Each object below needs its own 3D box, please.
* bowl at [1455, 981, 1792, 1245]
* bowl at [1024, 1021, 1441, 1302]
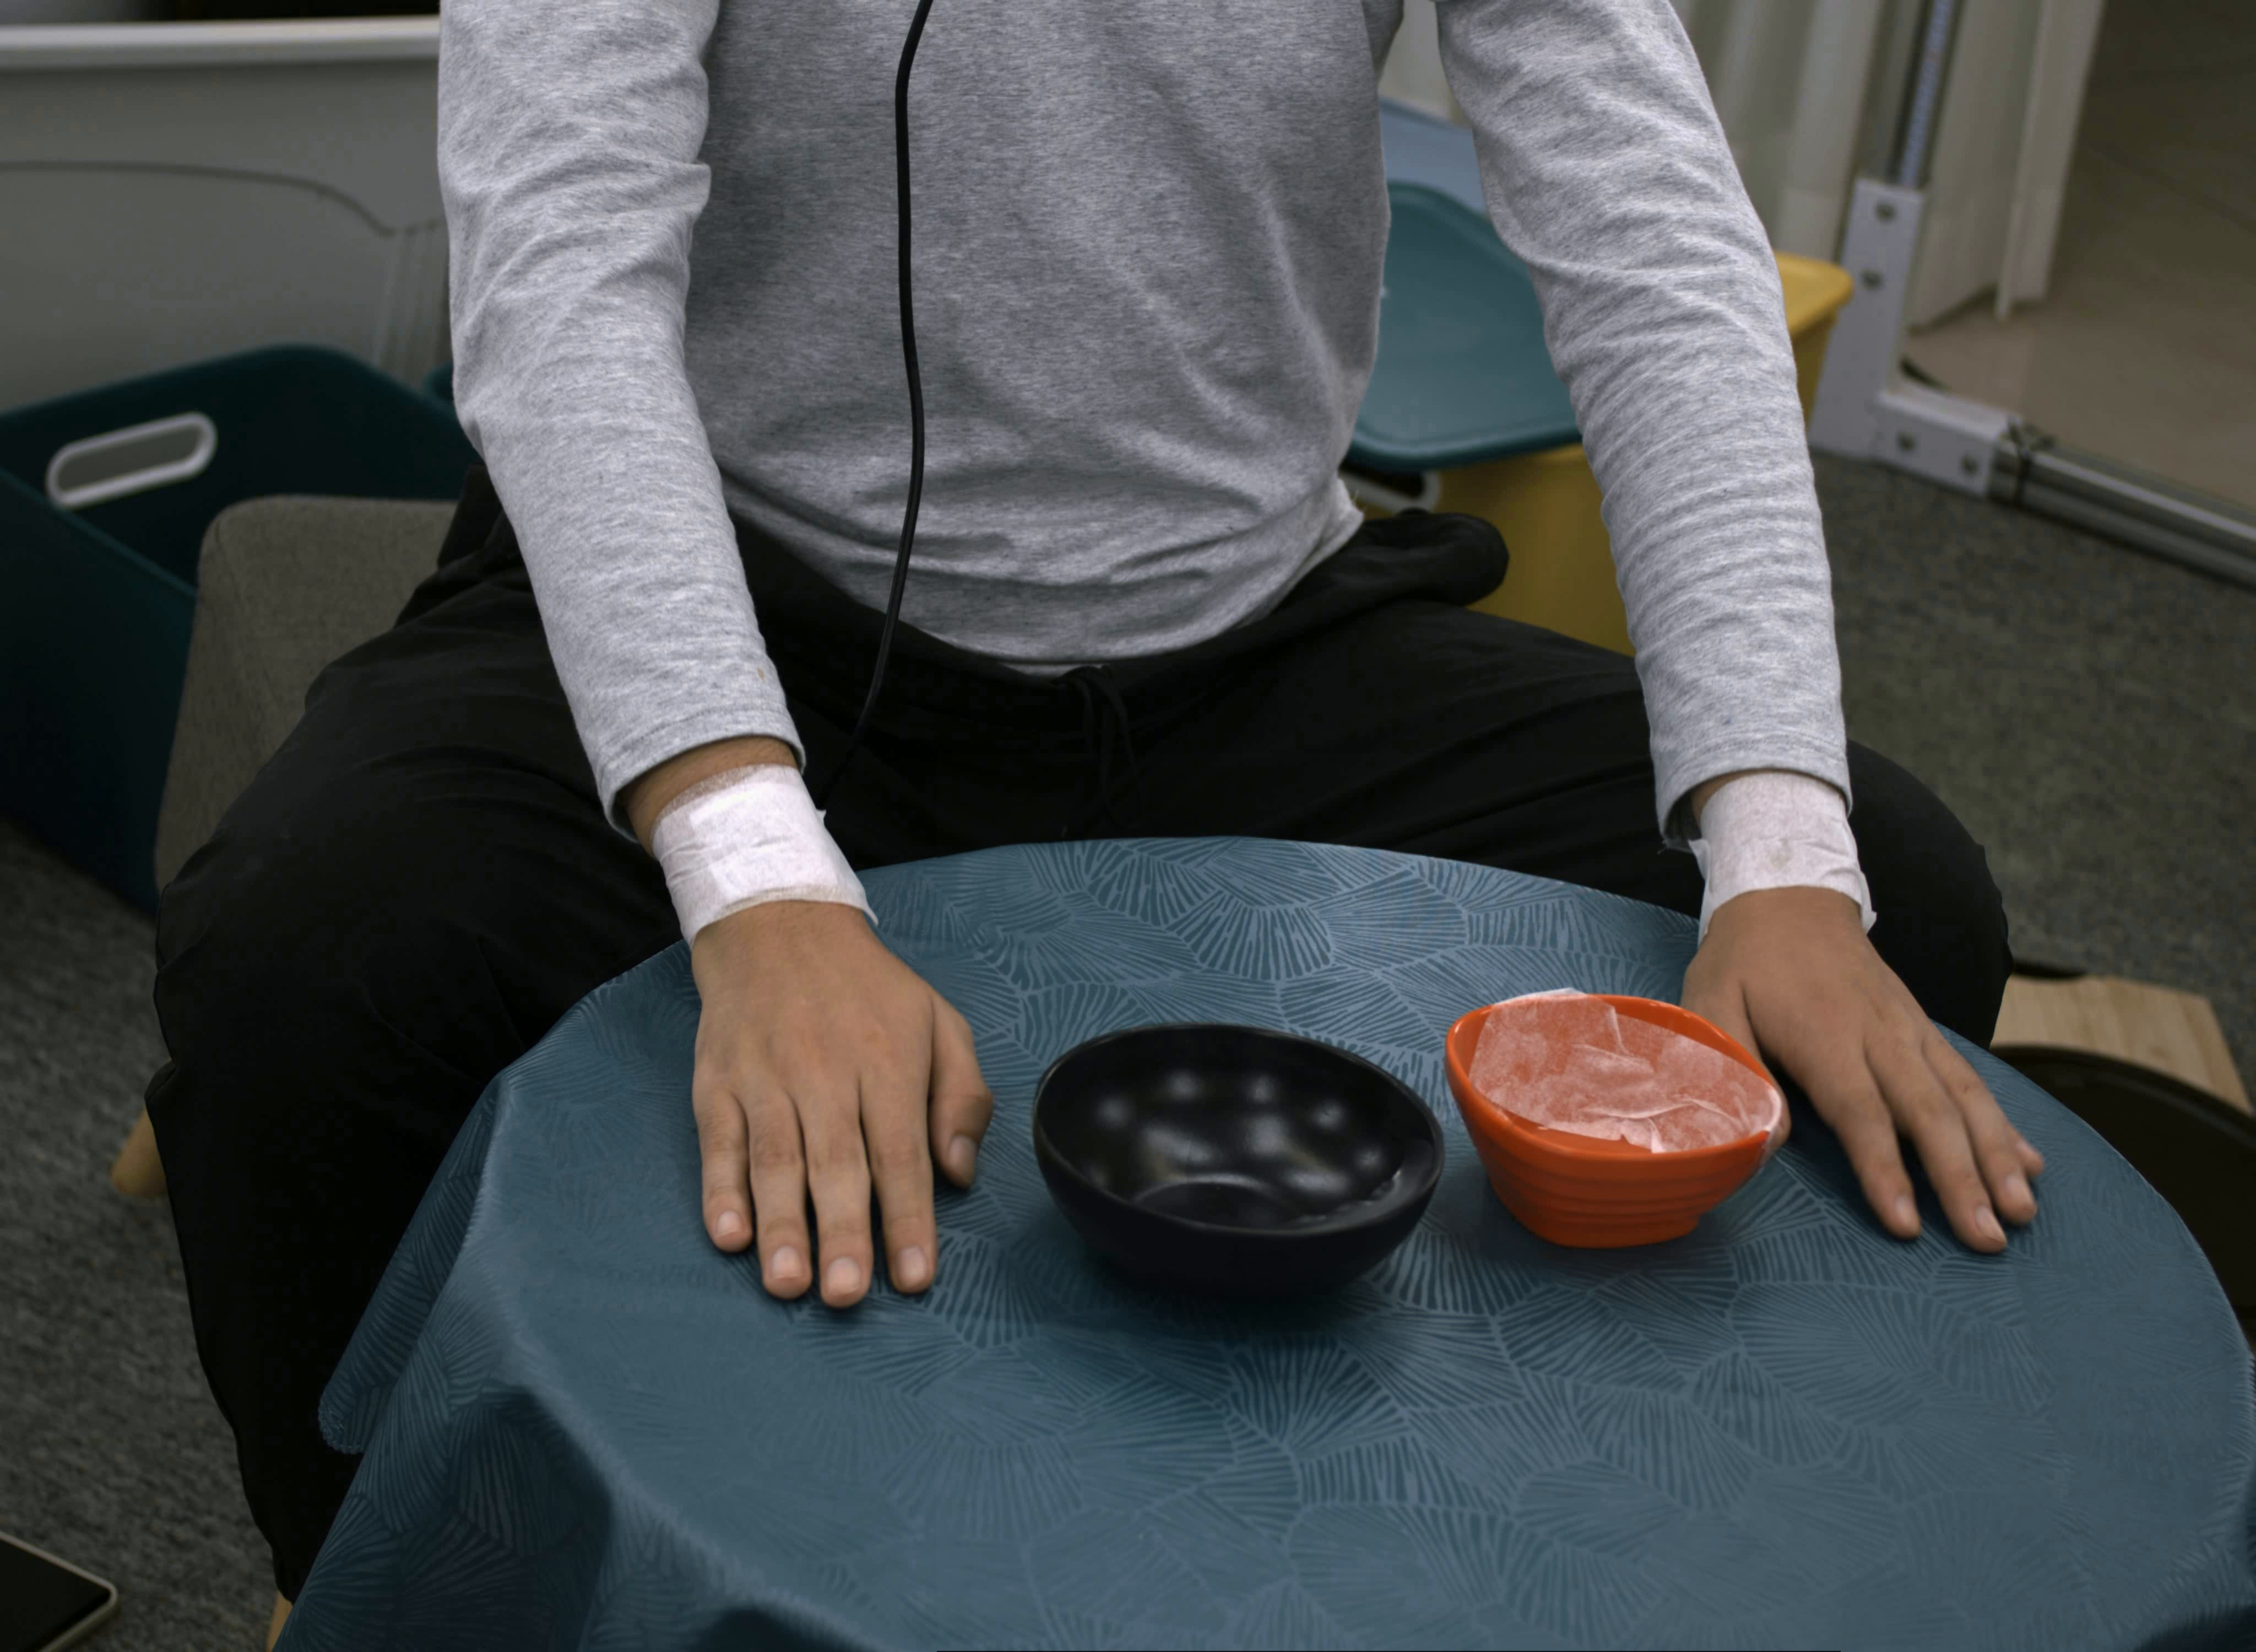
[{"bbox_3d":[0.166,0.103,1.821,0.118,0.051,0.120,5,30,-3],"label":"bowl"},{"bbox_3d":[0.032,0.119,1.768,0.139,0.049,0.141,6,26,-3],"label":"bowl"}]
